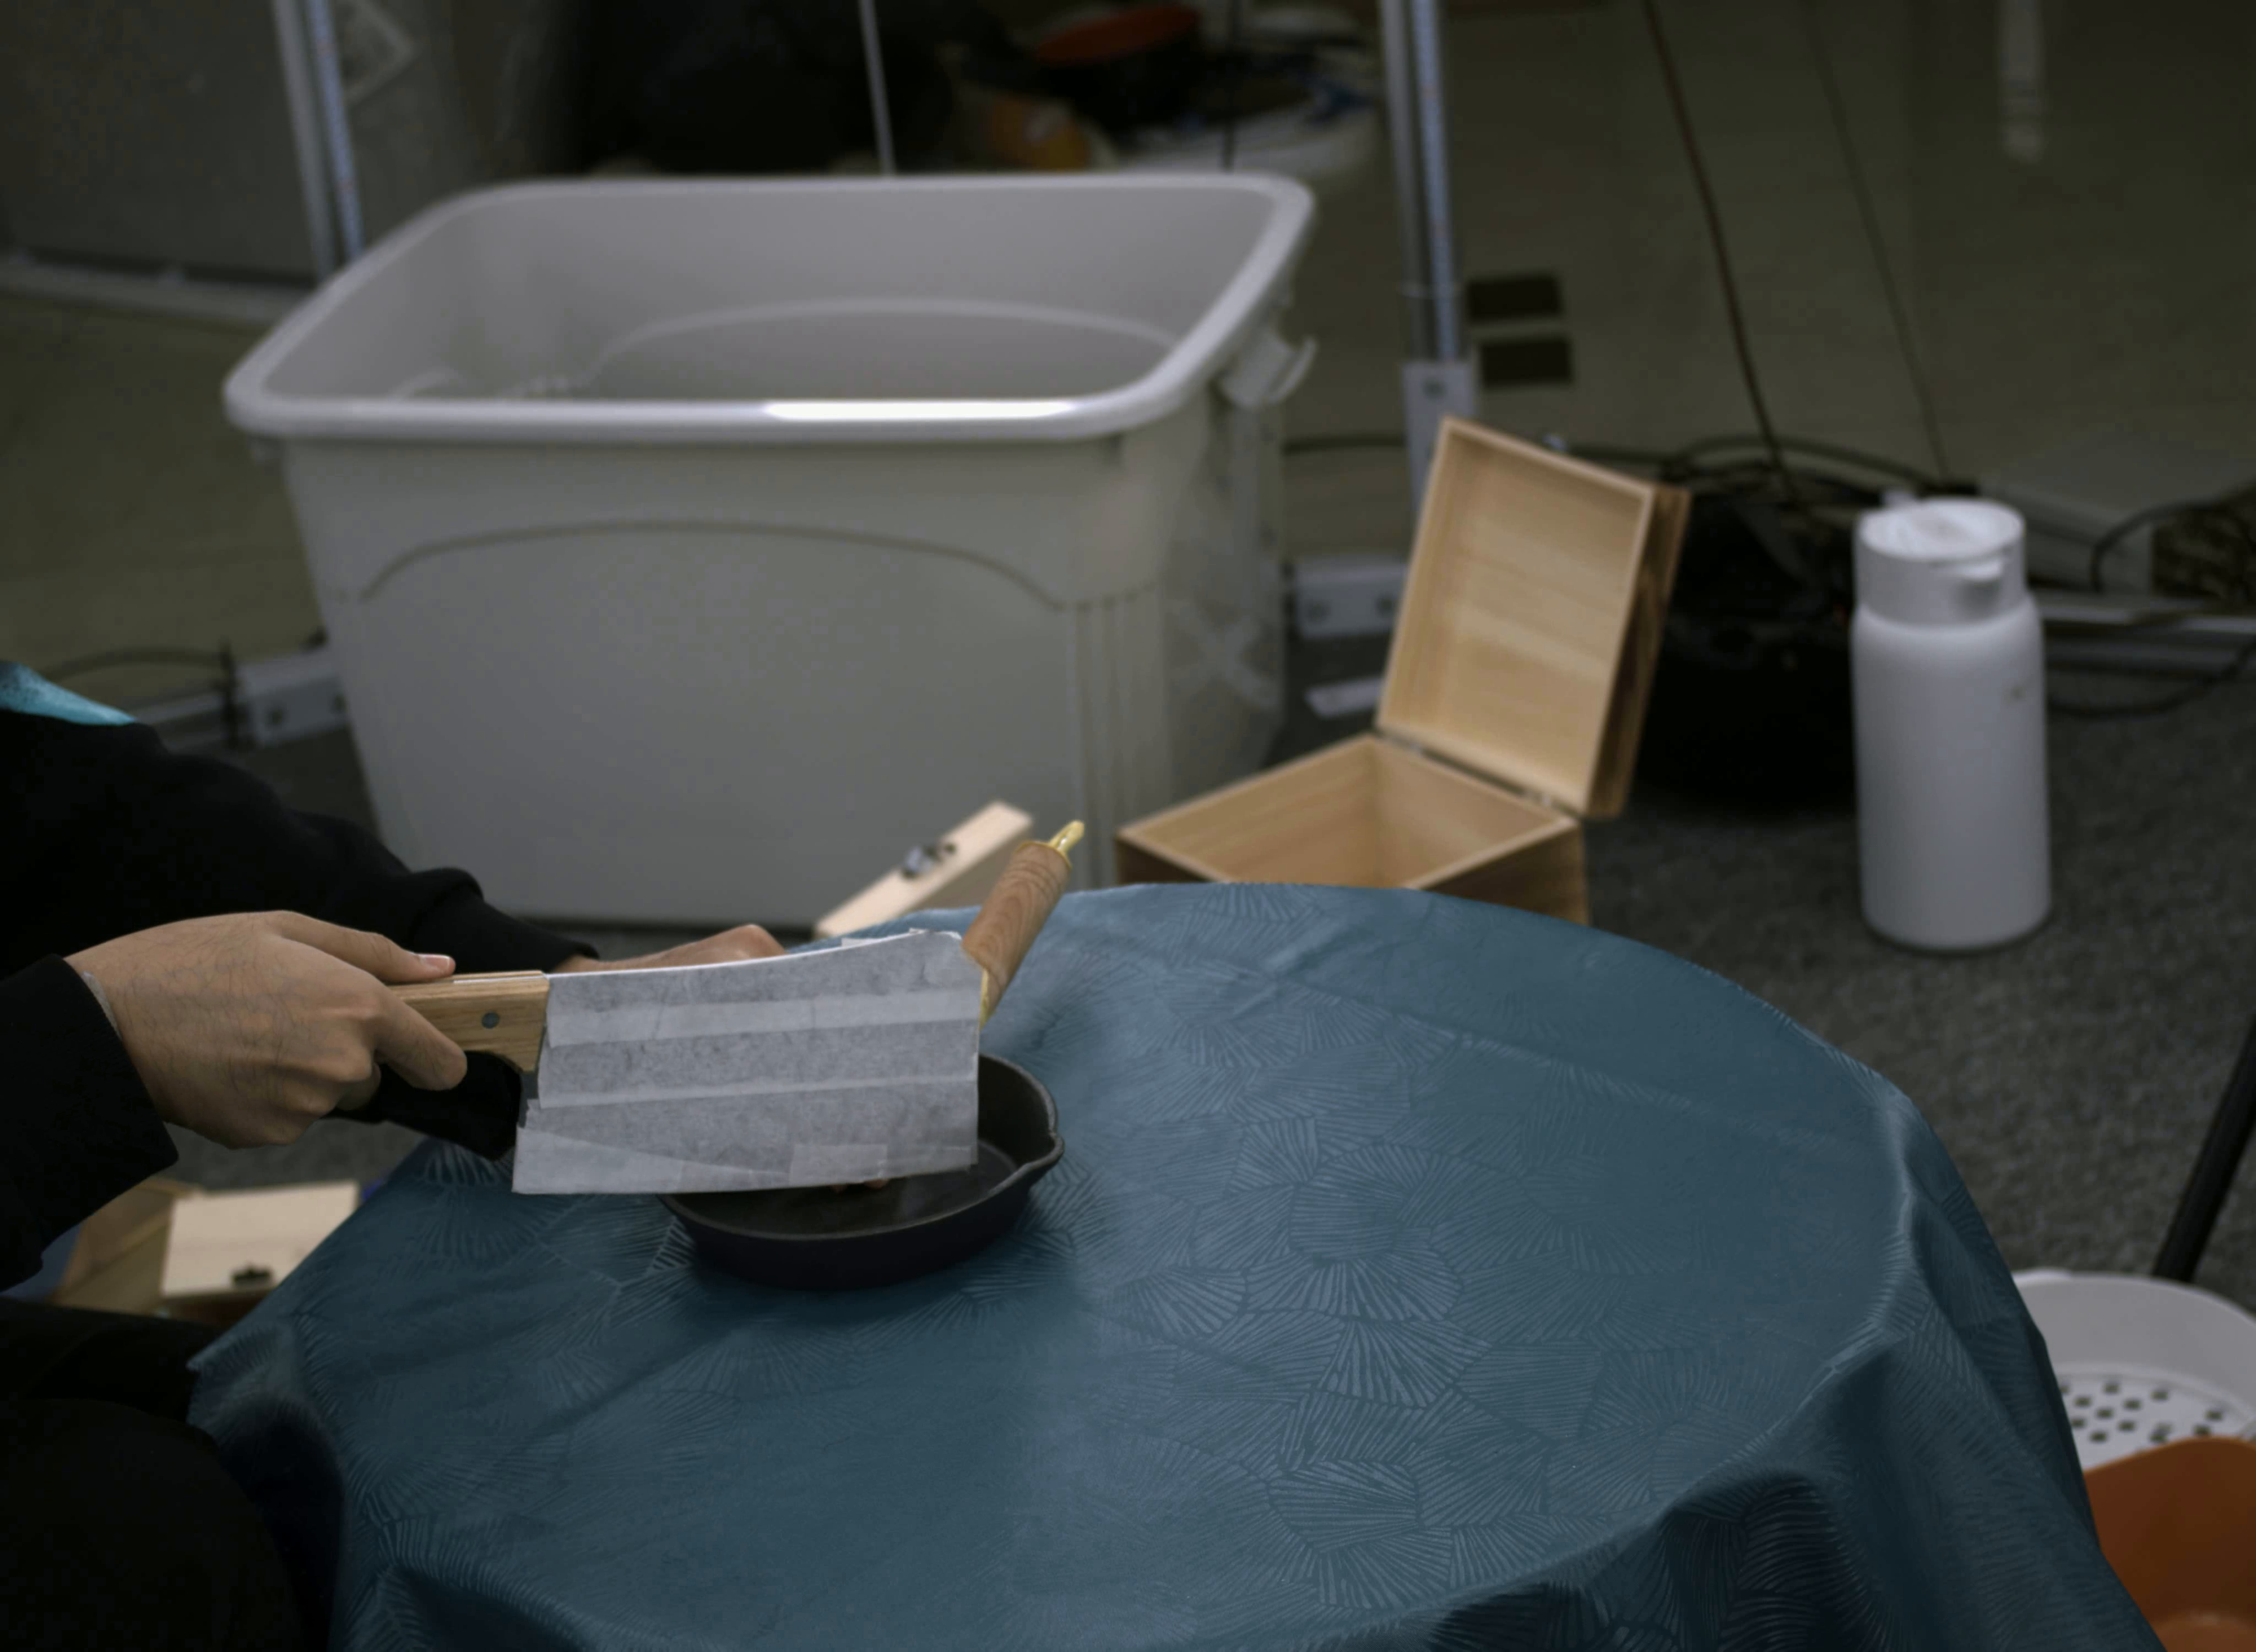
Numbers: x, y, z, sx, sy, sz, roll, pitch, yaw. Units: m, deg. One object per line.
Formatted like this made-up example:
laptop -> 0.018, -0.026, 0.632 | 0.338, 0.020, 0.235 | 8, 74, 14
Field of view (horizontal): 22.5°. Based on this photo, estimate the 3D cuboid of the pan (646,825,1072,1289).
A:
pan -> -0.077, 0.088, 2.215 | 0.168, 0.050, 0.319 | 2, 27, 20

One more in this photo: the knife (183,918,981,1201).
knife -> -0.194, 0.085, 2.084 | 0.315, 0.115, 0.021 | 2, 19, -25
